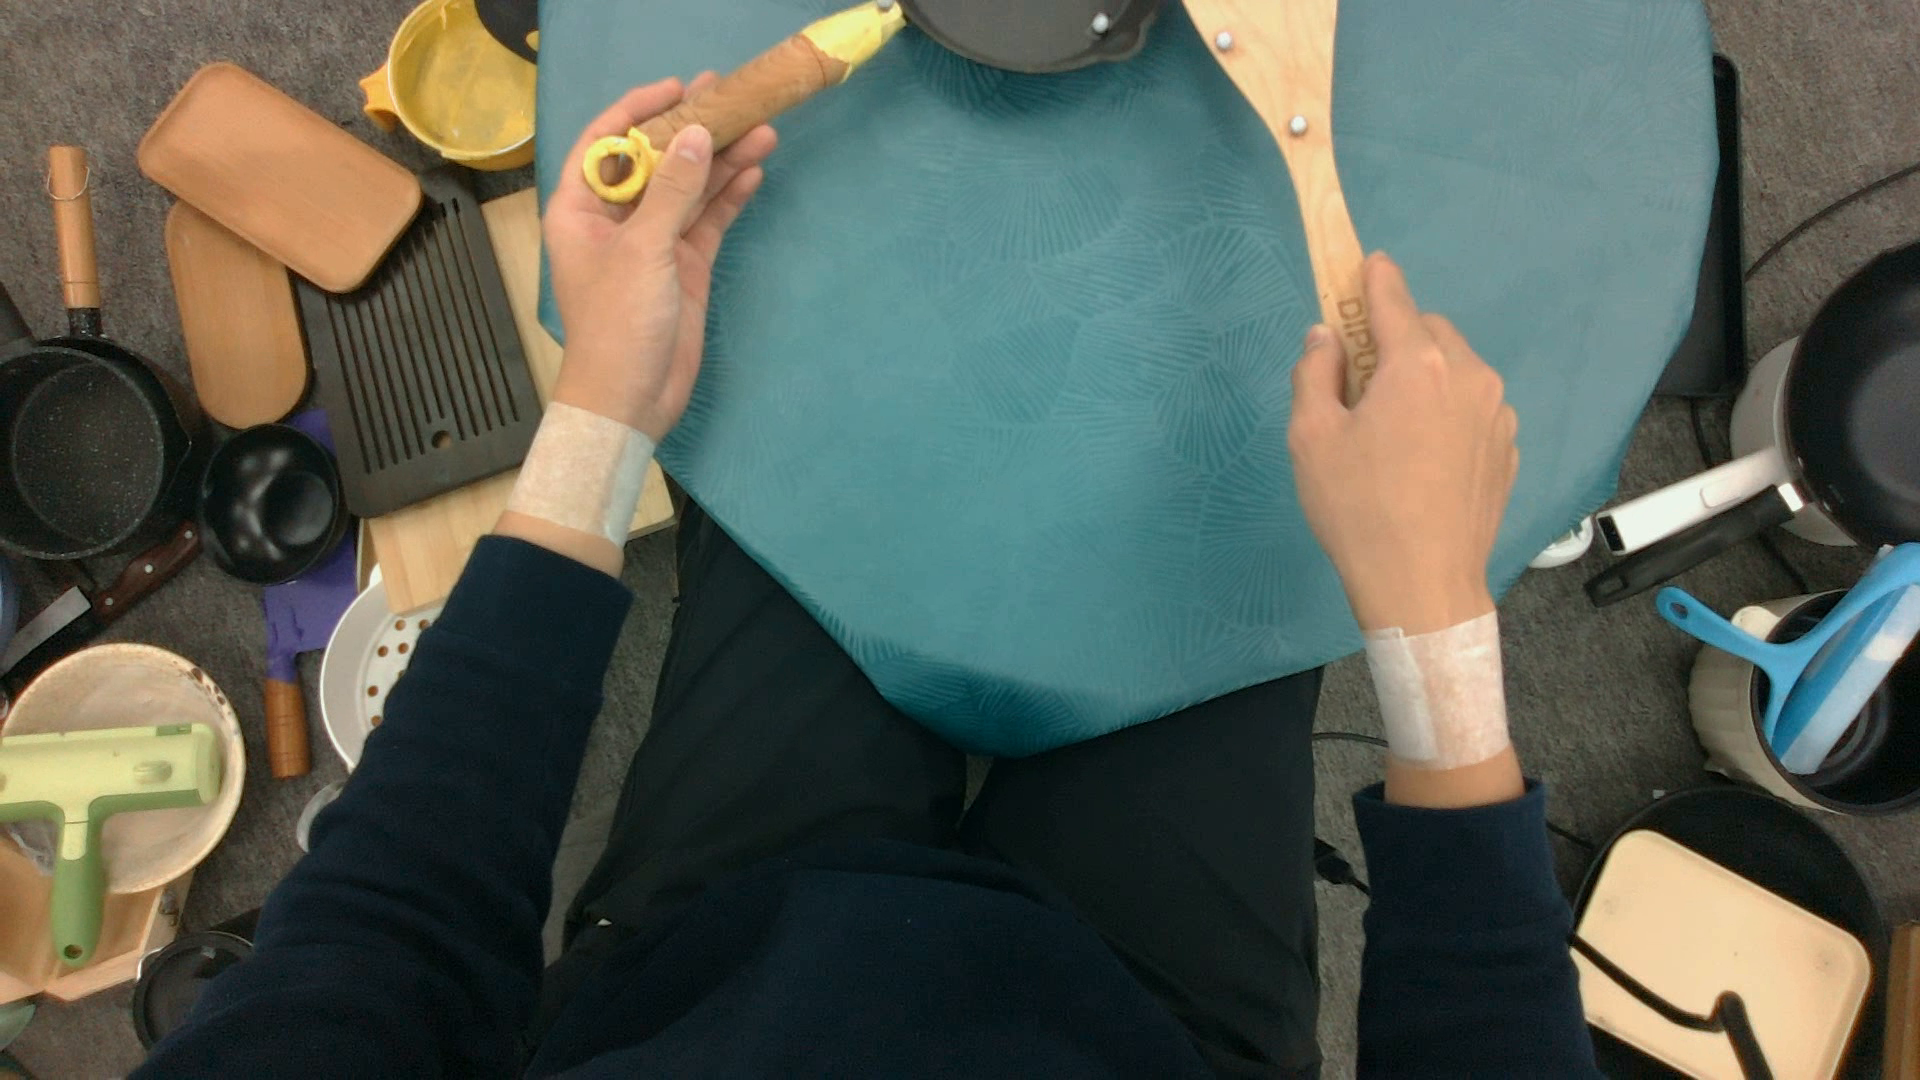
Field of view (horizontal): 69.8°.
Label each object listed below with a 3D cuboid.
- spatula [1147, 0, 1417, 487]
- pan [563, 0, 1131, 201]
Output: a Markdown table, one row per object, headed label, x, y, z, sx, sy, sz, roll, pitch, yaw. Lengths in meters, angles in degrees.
| label | x | y | z | sx | sy | sz | roll | pitch | yaw |
| --- | --- | --- | --- | --- | --- | --- | --- | --- | --- |
| spatula | 0.141 | -0.173 | 0.608 | 0.080 | 0.016 | 0.328 | -15 | 69 | 9 |
| pan | -0.050 | -0.254 | 0.655 | 0.325 | 0.049 | 0.169 | -37 | 89 | -12 |
